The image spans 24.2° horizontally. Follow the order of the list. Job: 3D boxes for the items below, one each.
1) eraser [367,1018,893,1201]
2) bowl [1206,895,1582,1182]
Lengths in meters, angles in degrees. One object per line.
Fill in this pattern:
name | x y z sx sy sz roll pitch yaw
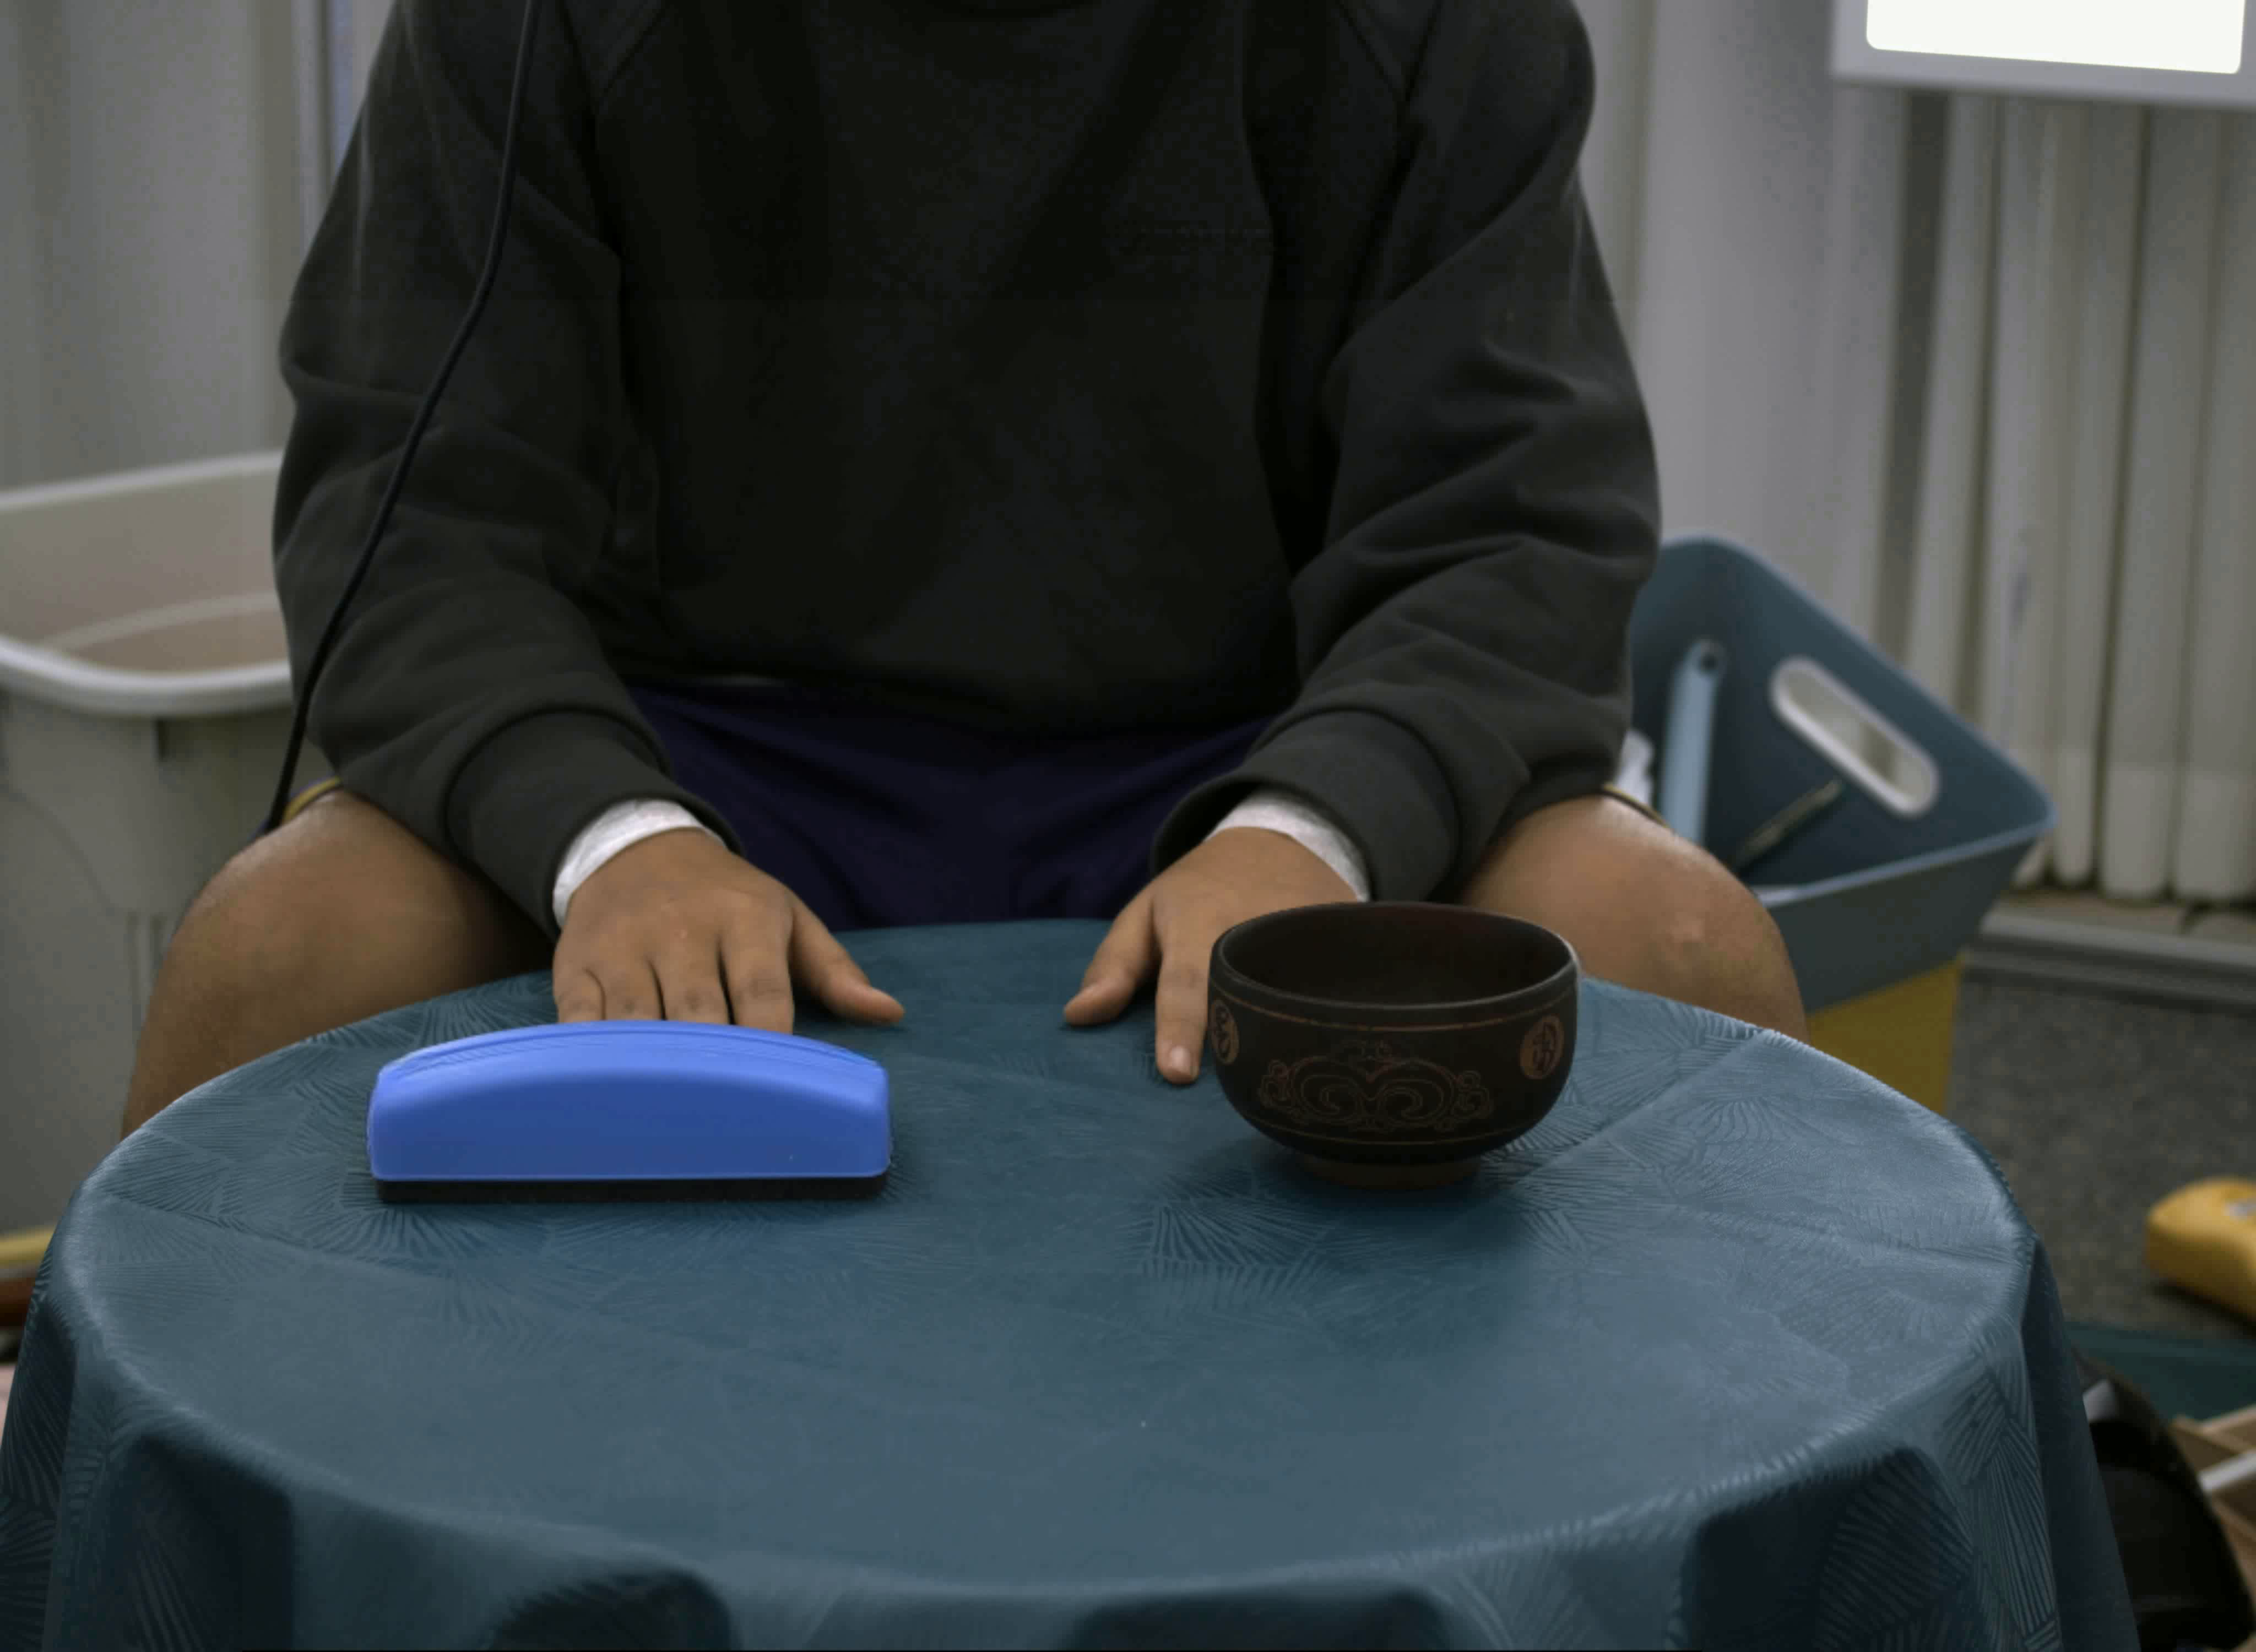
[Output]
eraser | -0.153 0.086 1.624 0.162 0.048 0.053 0 17 -4
bowl | 0.083 0.070 1.641 0.117 0.070 0.117 0 15 1
